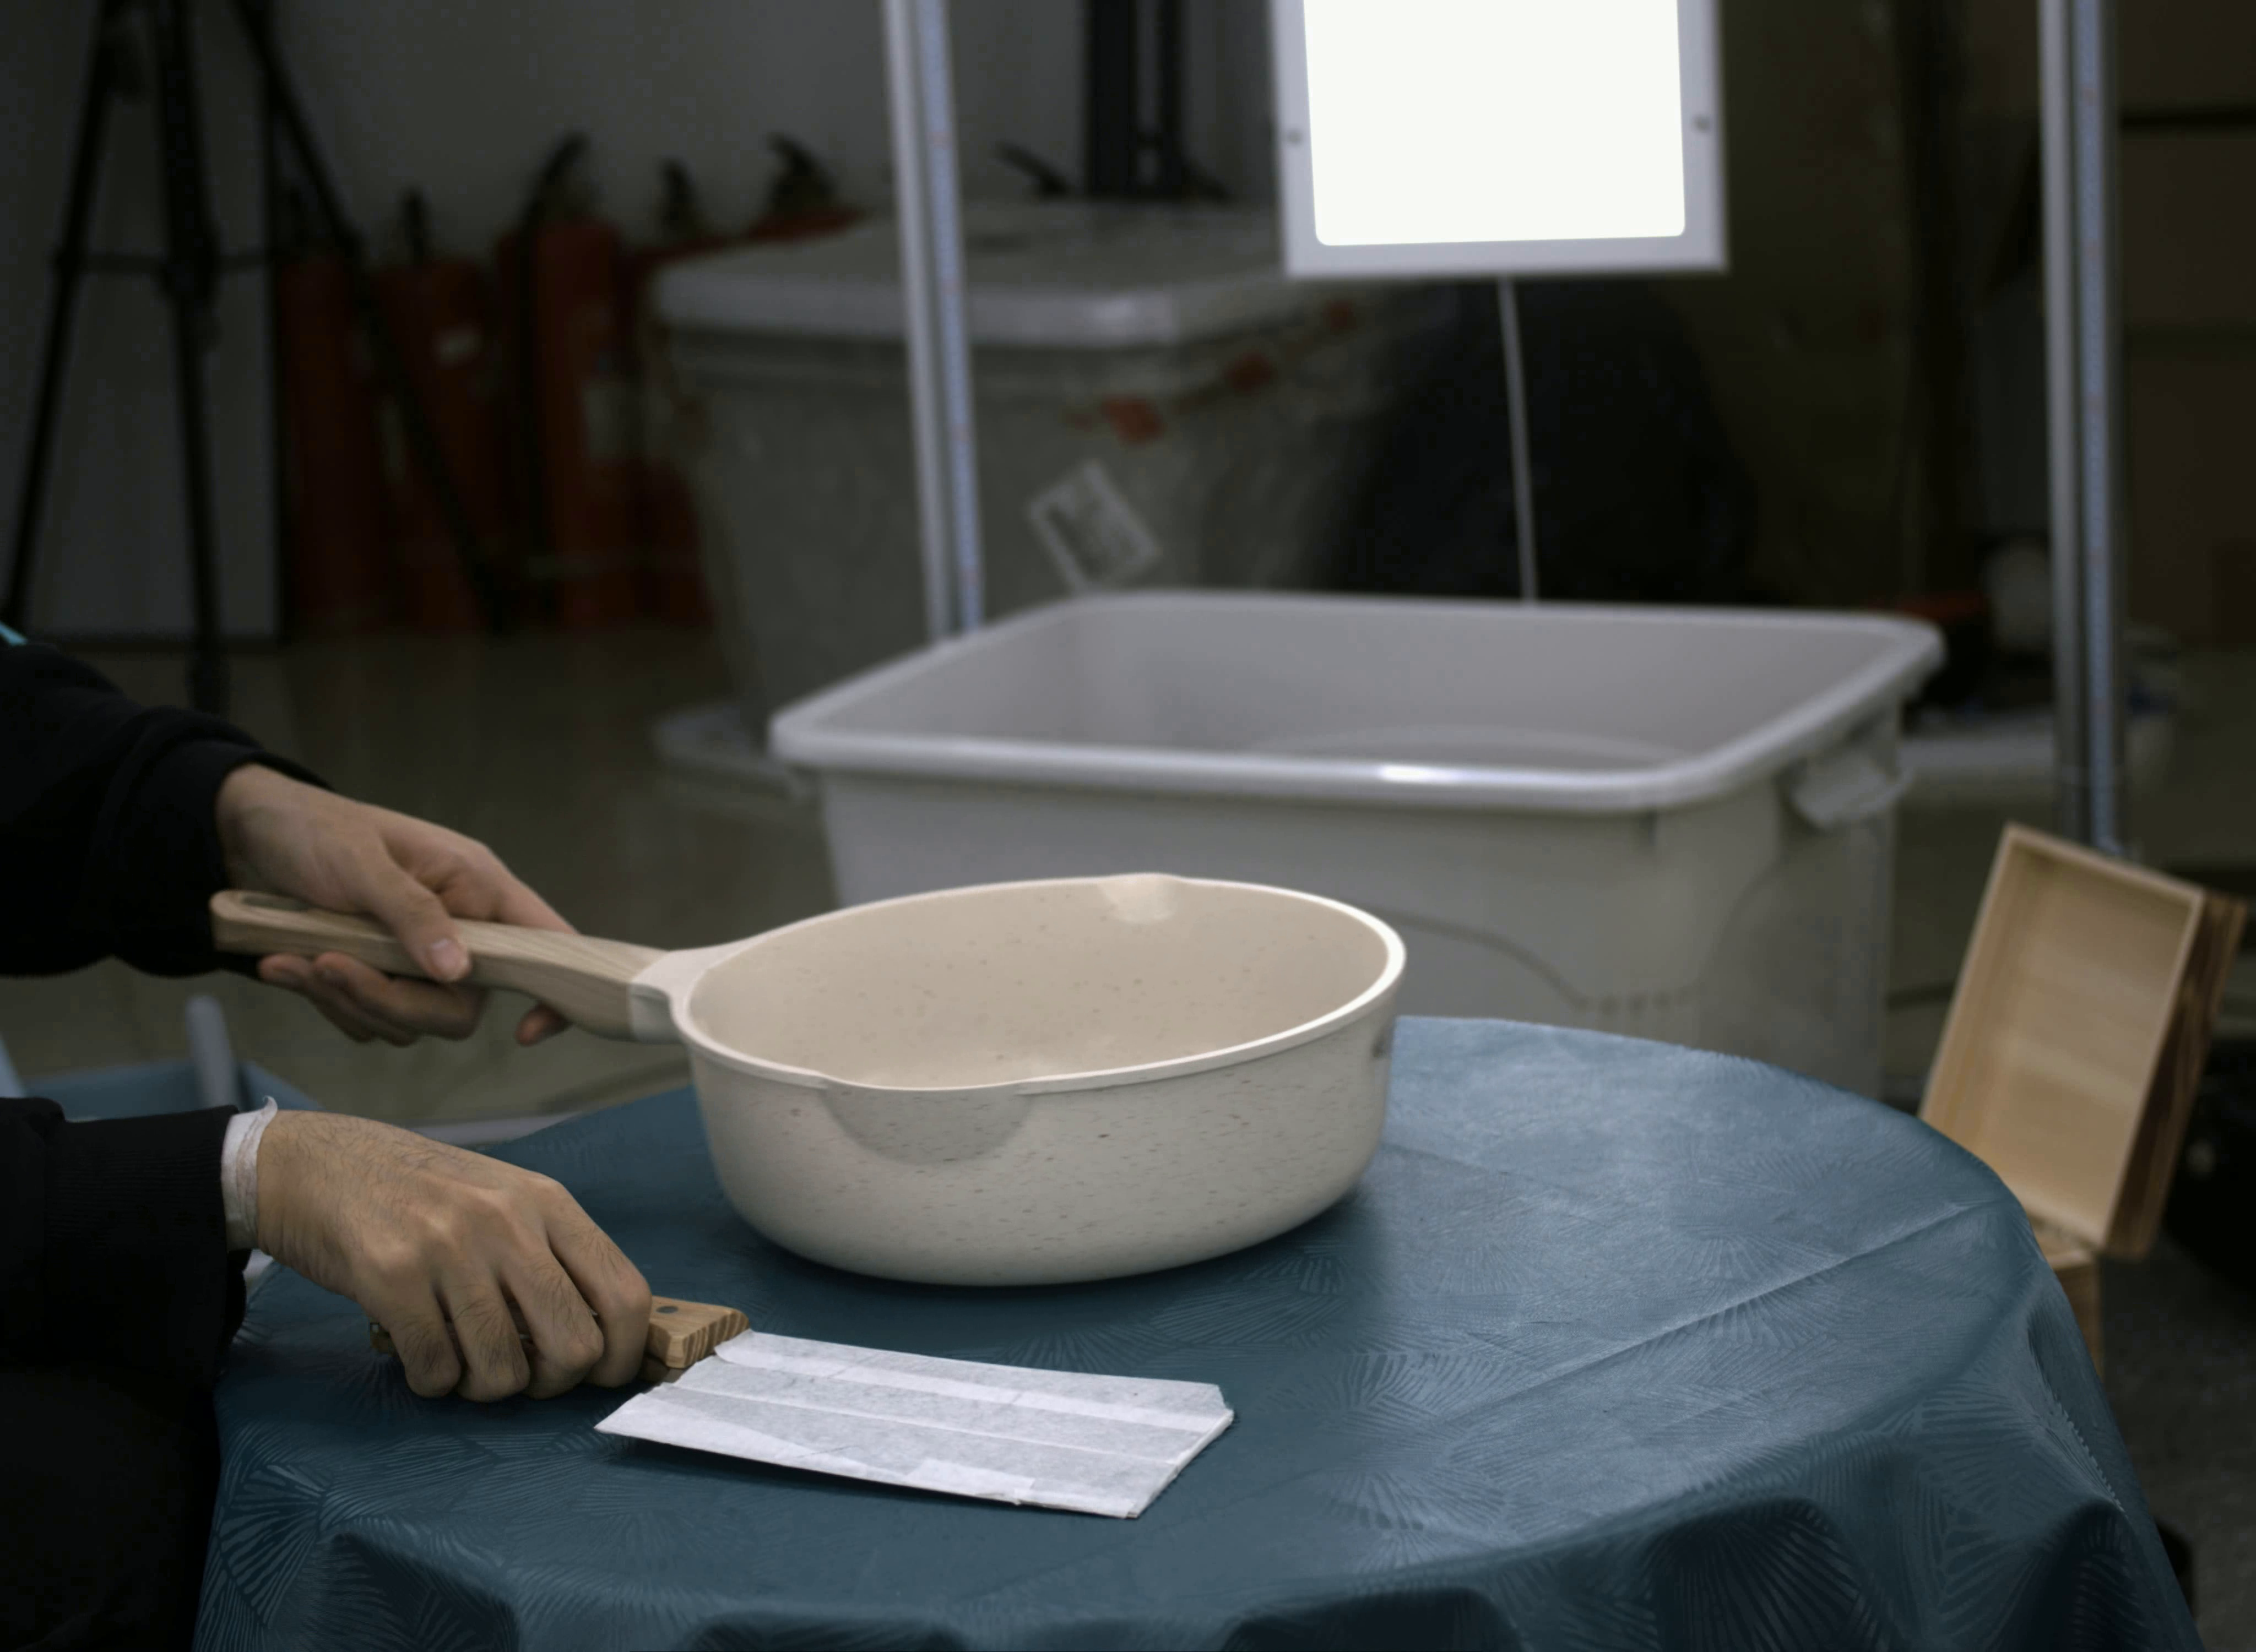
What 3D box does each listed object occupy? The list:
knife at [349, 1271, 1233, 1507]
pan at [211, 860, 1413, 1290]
[{"bbox_3d":[-0.111,0.173,1.713,0.321,0.022,0.111,7,19,32],"label":"knife"},{"bbox_3d":[-0.113,0.080,1.918,0.440,0.102,0.259,0,17,19],"label":"pan"}]
